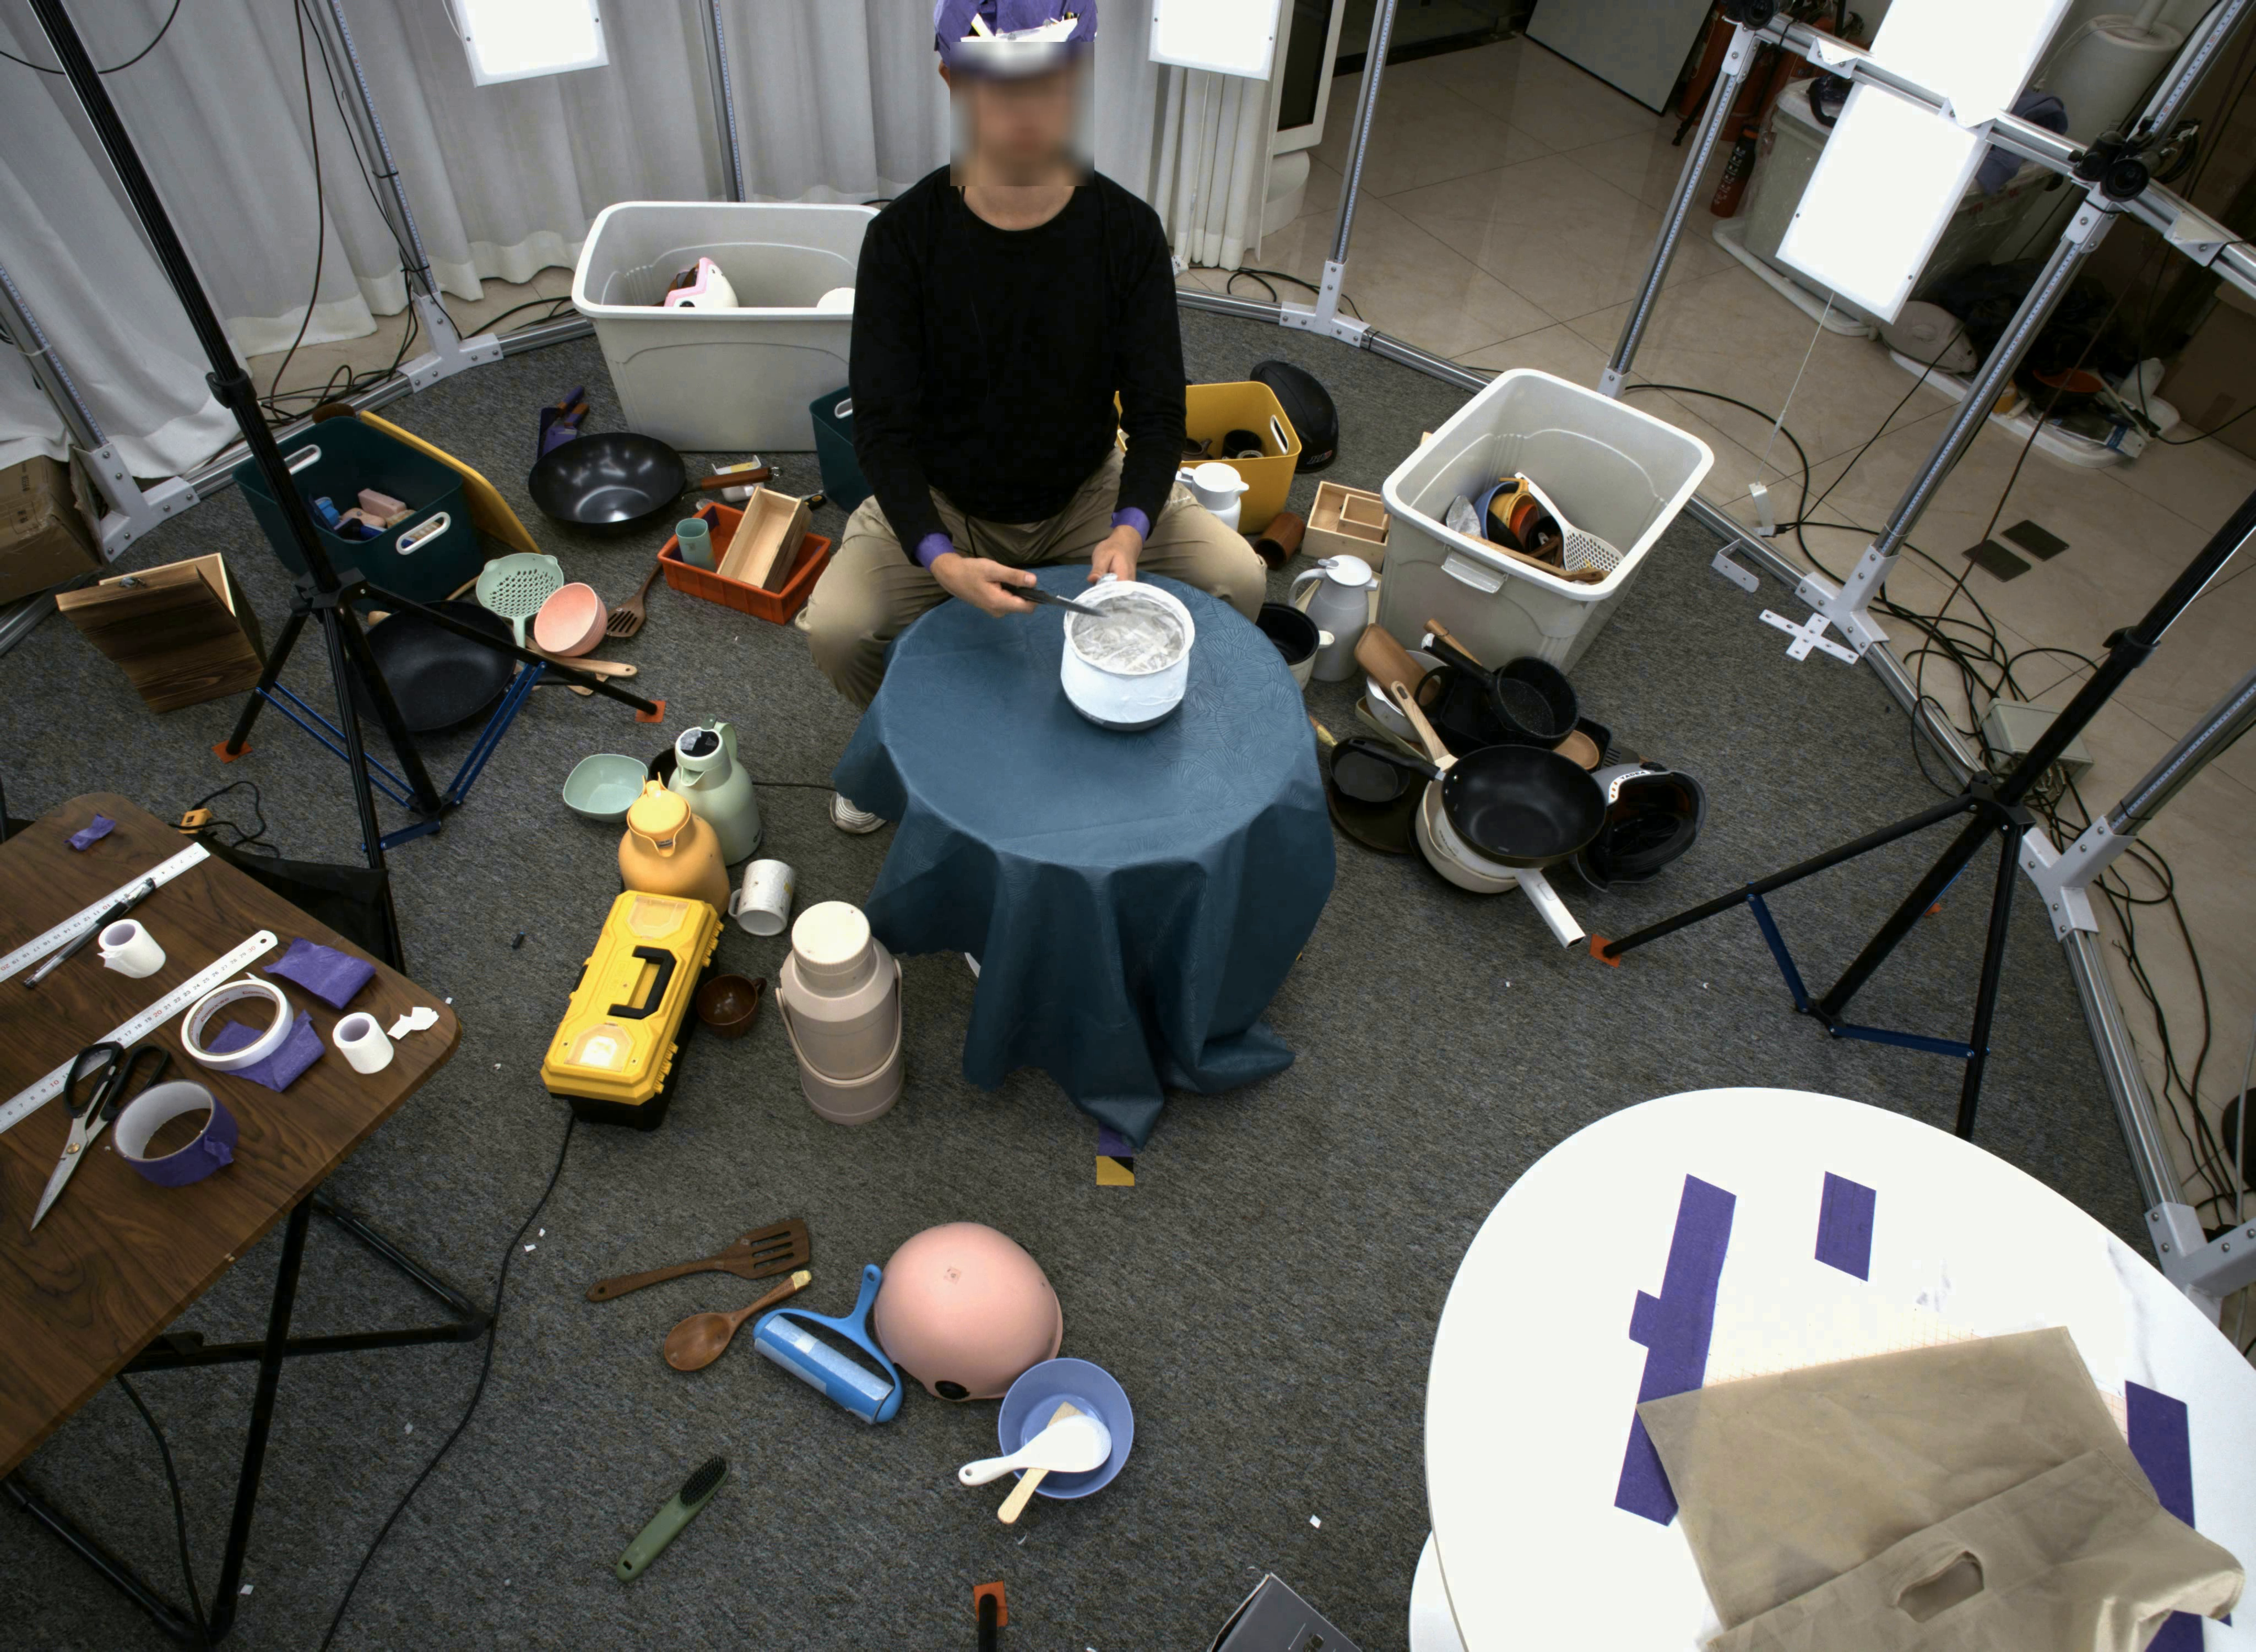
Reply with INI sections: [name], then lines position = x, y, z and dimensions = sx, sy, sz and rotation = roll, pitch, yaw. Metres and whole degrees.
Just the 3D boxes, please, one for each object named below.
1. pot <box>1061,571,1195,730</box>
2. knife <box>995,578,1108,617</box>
[pot]
position = -0.011, -0.254, 1.792
dimensions = 0.178, 0.133, 0.239
rotation = -10, 55, -13
[knife]
position = -0.109, -0.310, 1.765
dimensions = 0.024, 0.016, 0.241
rotation = -36, 40, -27
